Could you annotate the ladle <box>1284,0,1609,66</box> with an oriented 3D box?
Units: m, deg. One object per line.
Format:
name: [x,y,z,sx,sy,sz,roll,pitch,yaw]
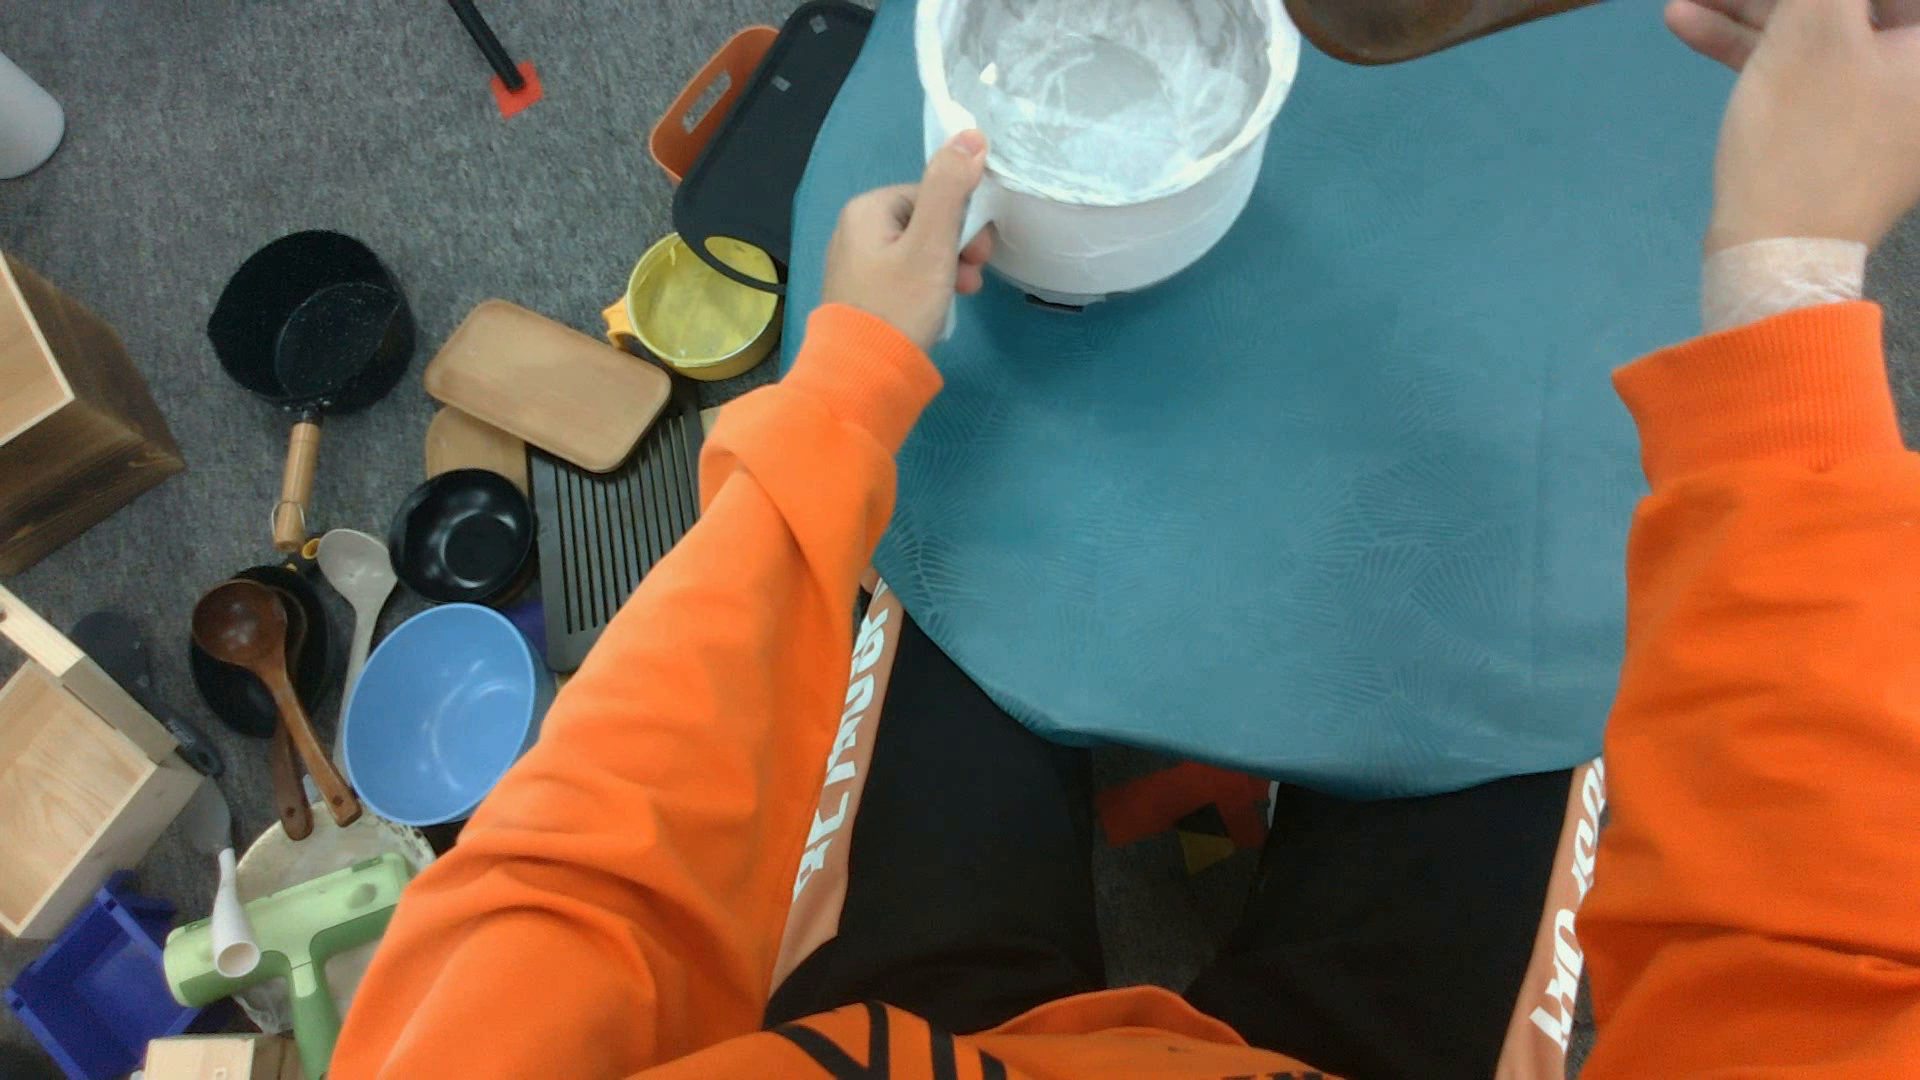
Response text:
ladle: [0.247,-0.212,0.480,0.273,0.071,0.076,8,78,36]

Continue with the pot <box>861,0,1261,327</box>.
pot: [0.035,-0.212,0.696,0.179,0.136,0.234,38,81,10]
